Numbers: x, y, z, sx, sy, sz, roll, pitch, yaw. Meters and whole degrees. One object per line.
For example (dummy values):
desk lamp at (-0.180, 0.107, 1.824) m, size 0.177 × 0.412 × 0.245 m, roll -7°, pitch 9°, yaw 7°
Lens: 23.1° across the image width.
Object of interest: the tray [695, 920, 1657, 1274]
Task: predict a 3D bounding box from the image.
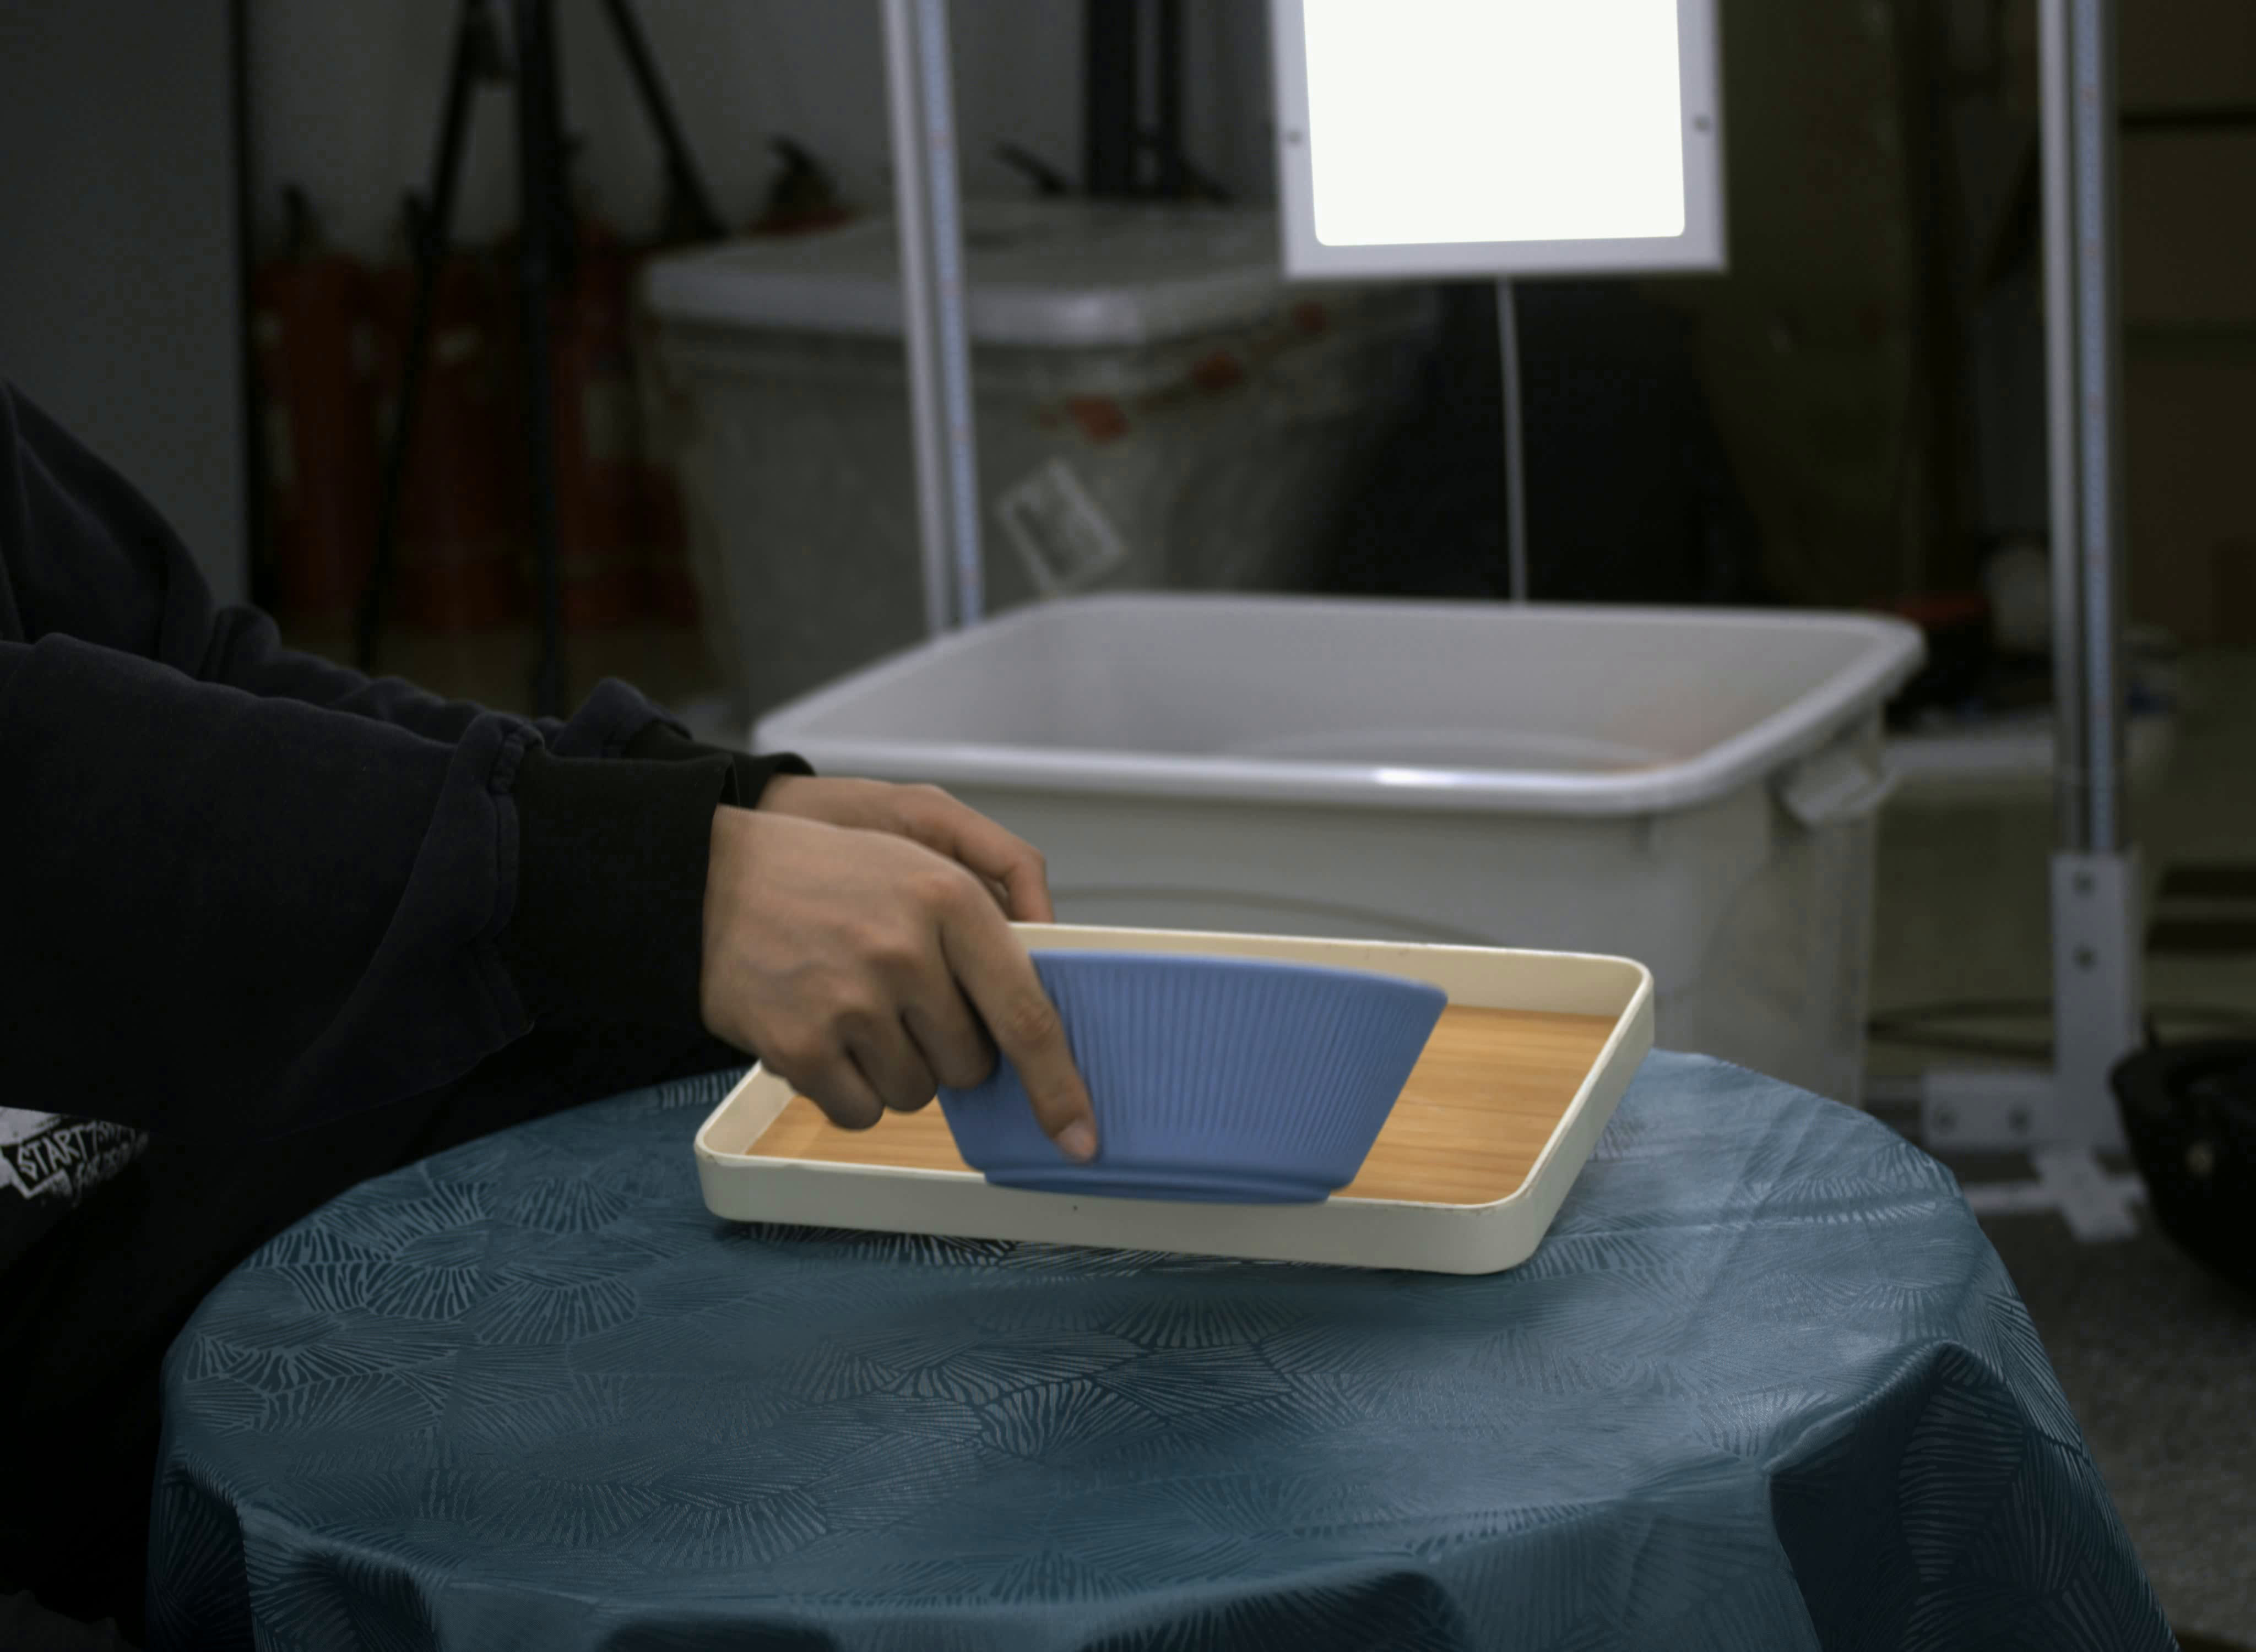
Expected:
tray at (0.019, 0.091, 1.903) m, size 0.304 × 0.027 × 0.188 m, roll 3°, pitch 26°, yaw 22°

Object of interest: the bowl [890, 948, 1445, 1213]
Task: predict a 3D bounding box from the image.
bowl at (0.010, 0.081, 1.717) m, size 0.175 × 0.070 × 0.176 m, roll 5°, pitch -7°, yaw -1°
